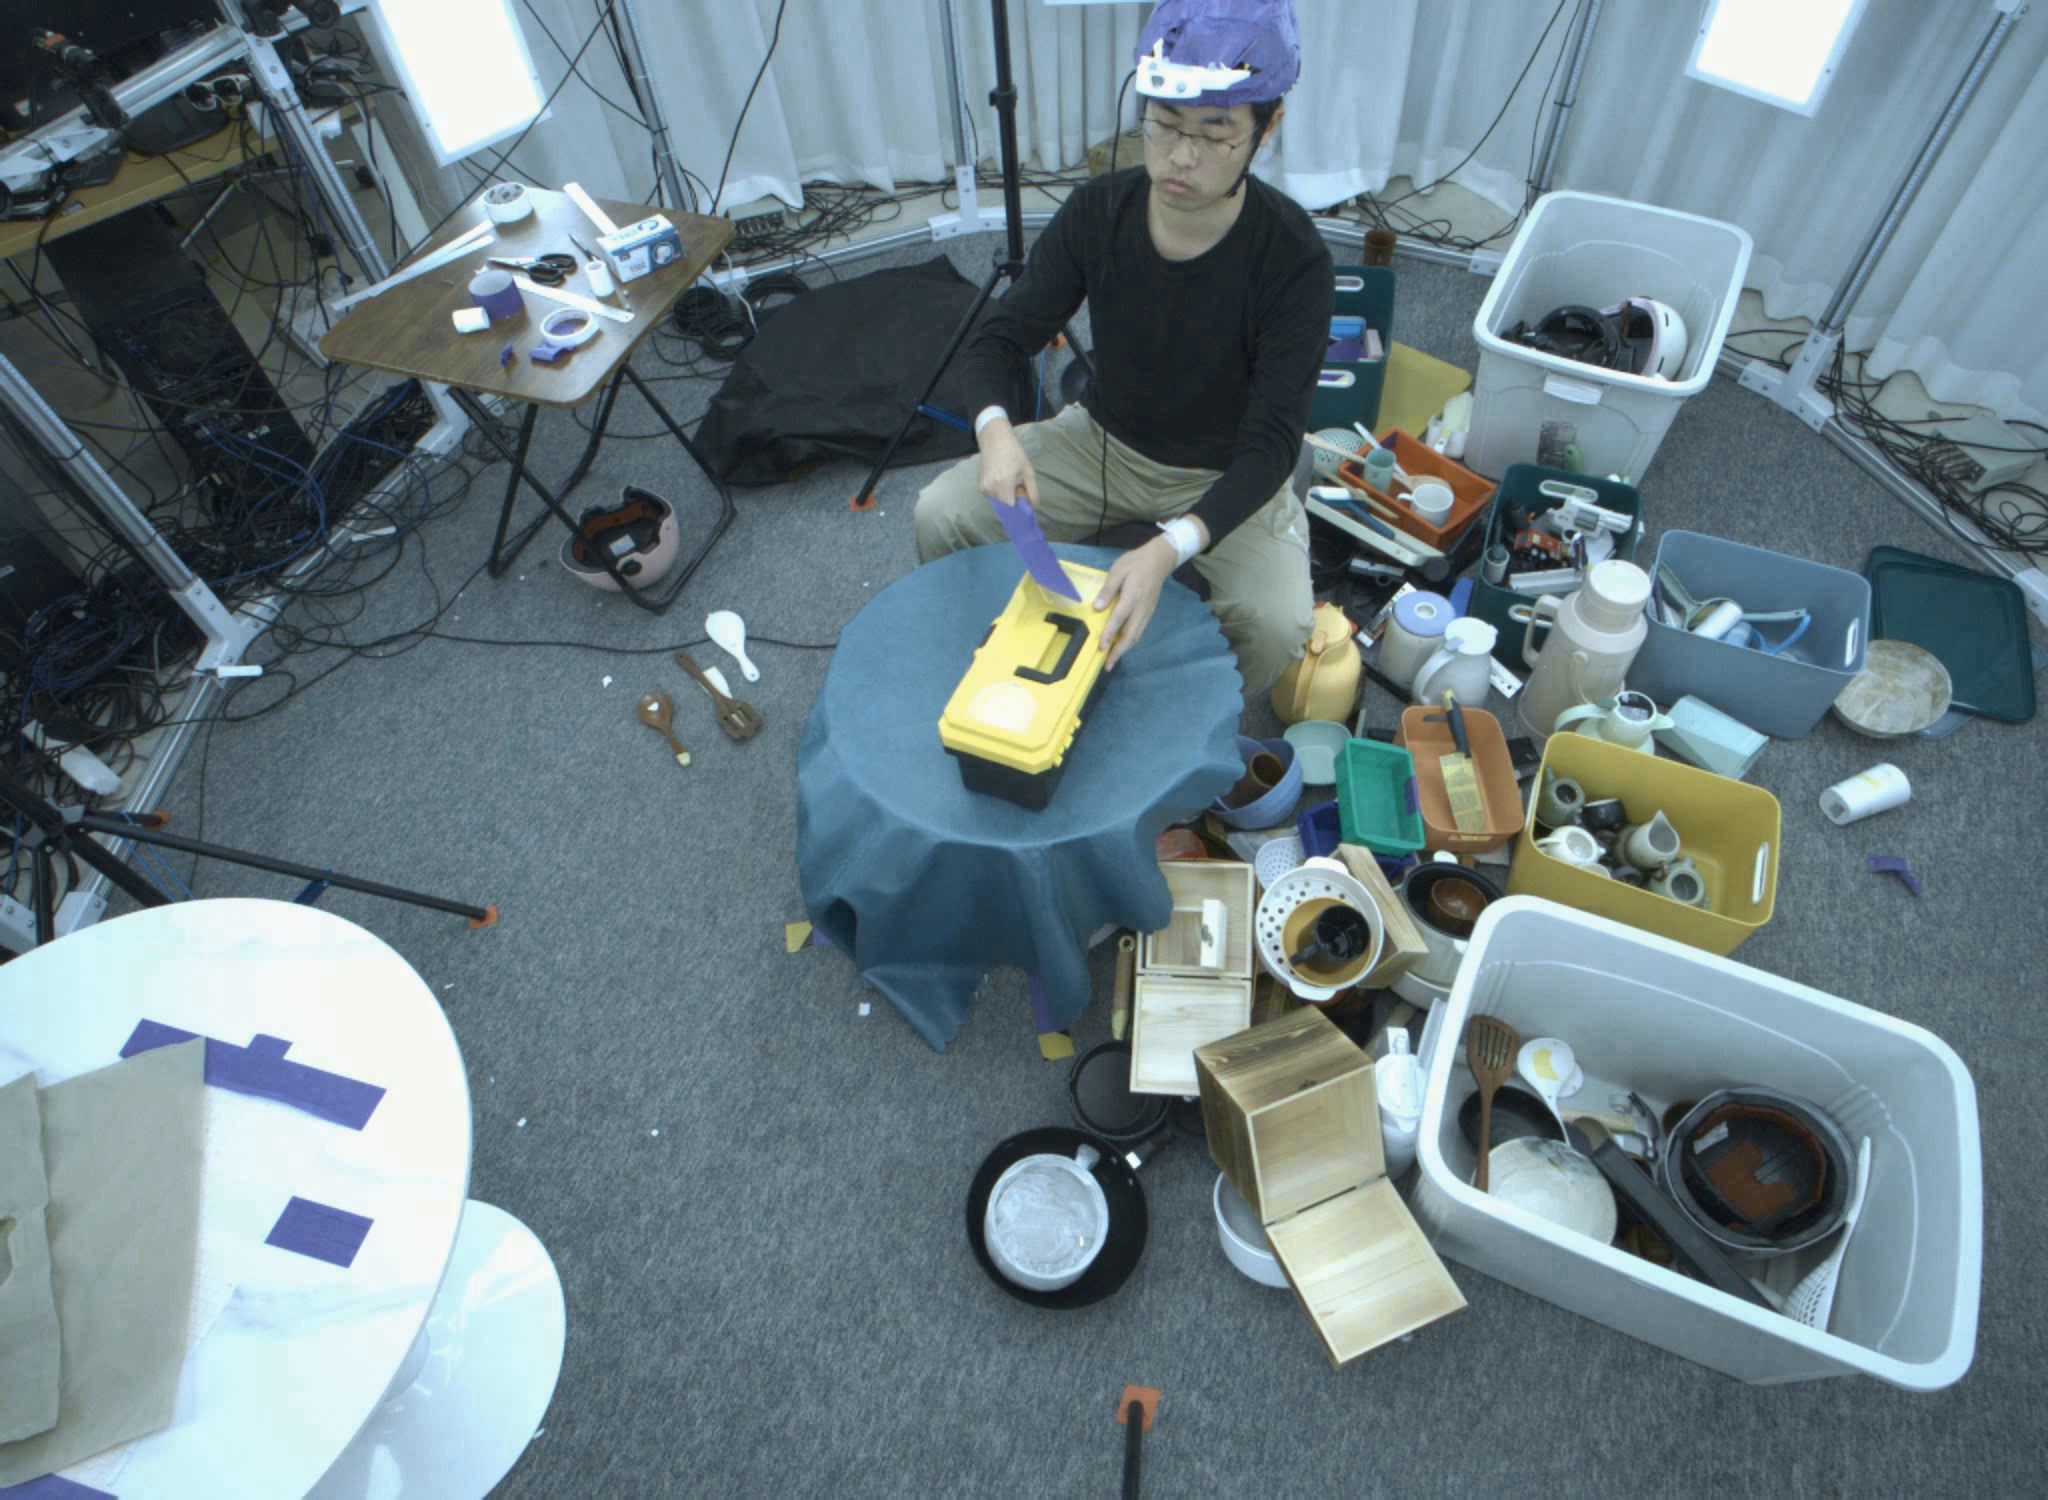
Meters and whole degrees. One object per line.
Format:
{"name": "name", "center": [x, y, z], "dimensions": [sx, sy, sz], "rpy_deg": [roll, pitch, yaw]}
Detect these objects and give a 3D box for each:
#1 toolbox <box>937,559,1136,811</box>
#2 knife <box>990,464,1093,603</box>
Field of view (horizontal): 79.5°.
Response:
{"name": "toolbox", "center": [0.024, -0.096, 1.748], "dimensions": [0.179, 0.174, 0.351], "rpy_deg": [19, 57, 15]}
{"name": "knife", "center": [0.002, -0.323, 1.748], "dimensions": [0.106, 0.032, 0.309], "rpy_deg": [16, 35, -44]}
